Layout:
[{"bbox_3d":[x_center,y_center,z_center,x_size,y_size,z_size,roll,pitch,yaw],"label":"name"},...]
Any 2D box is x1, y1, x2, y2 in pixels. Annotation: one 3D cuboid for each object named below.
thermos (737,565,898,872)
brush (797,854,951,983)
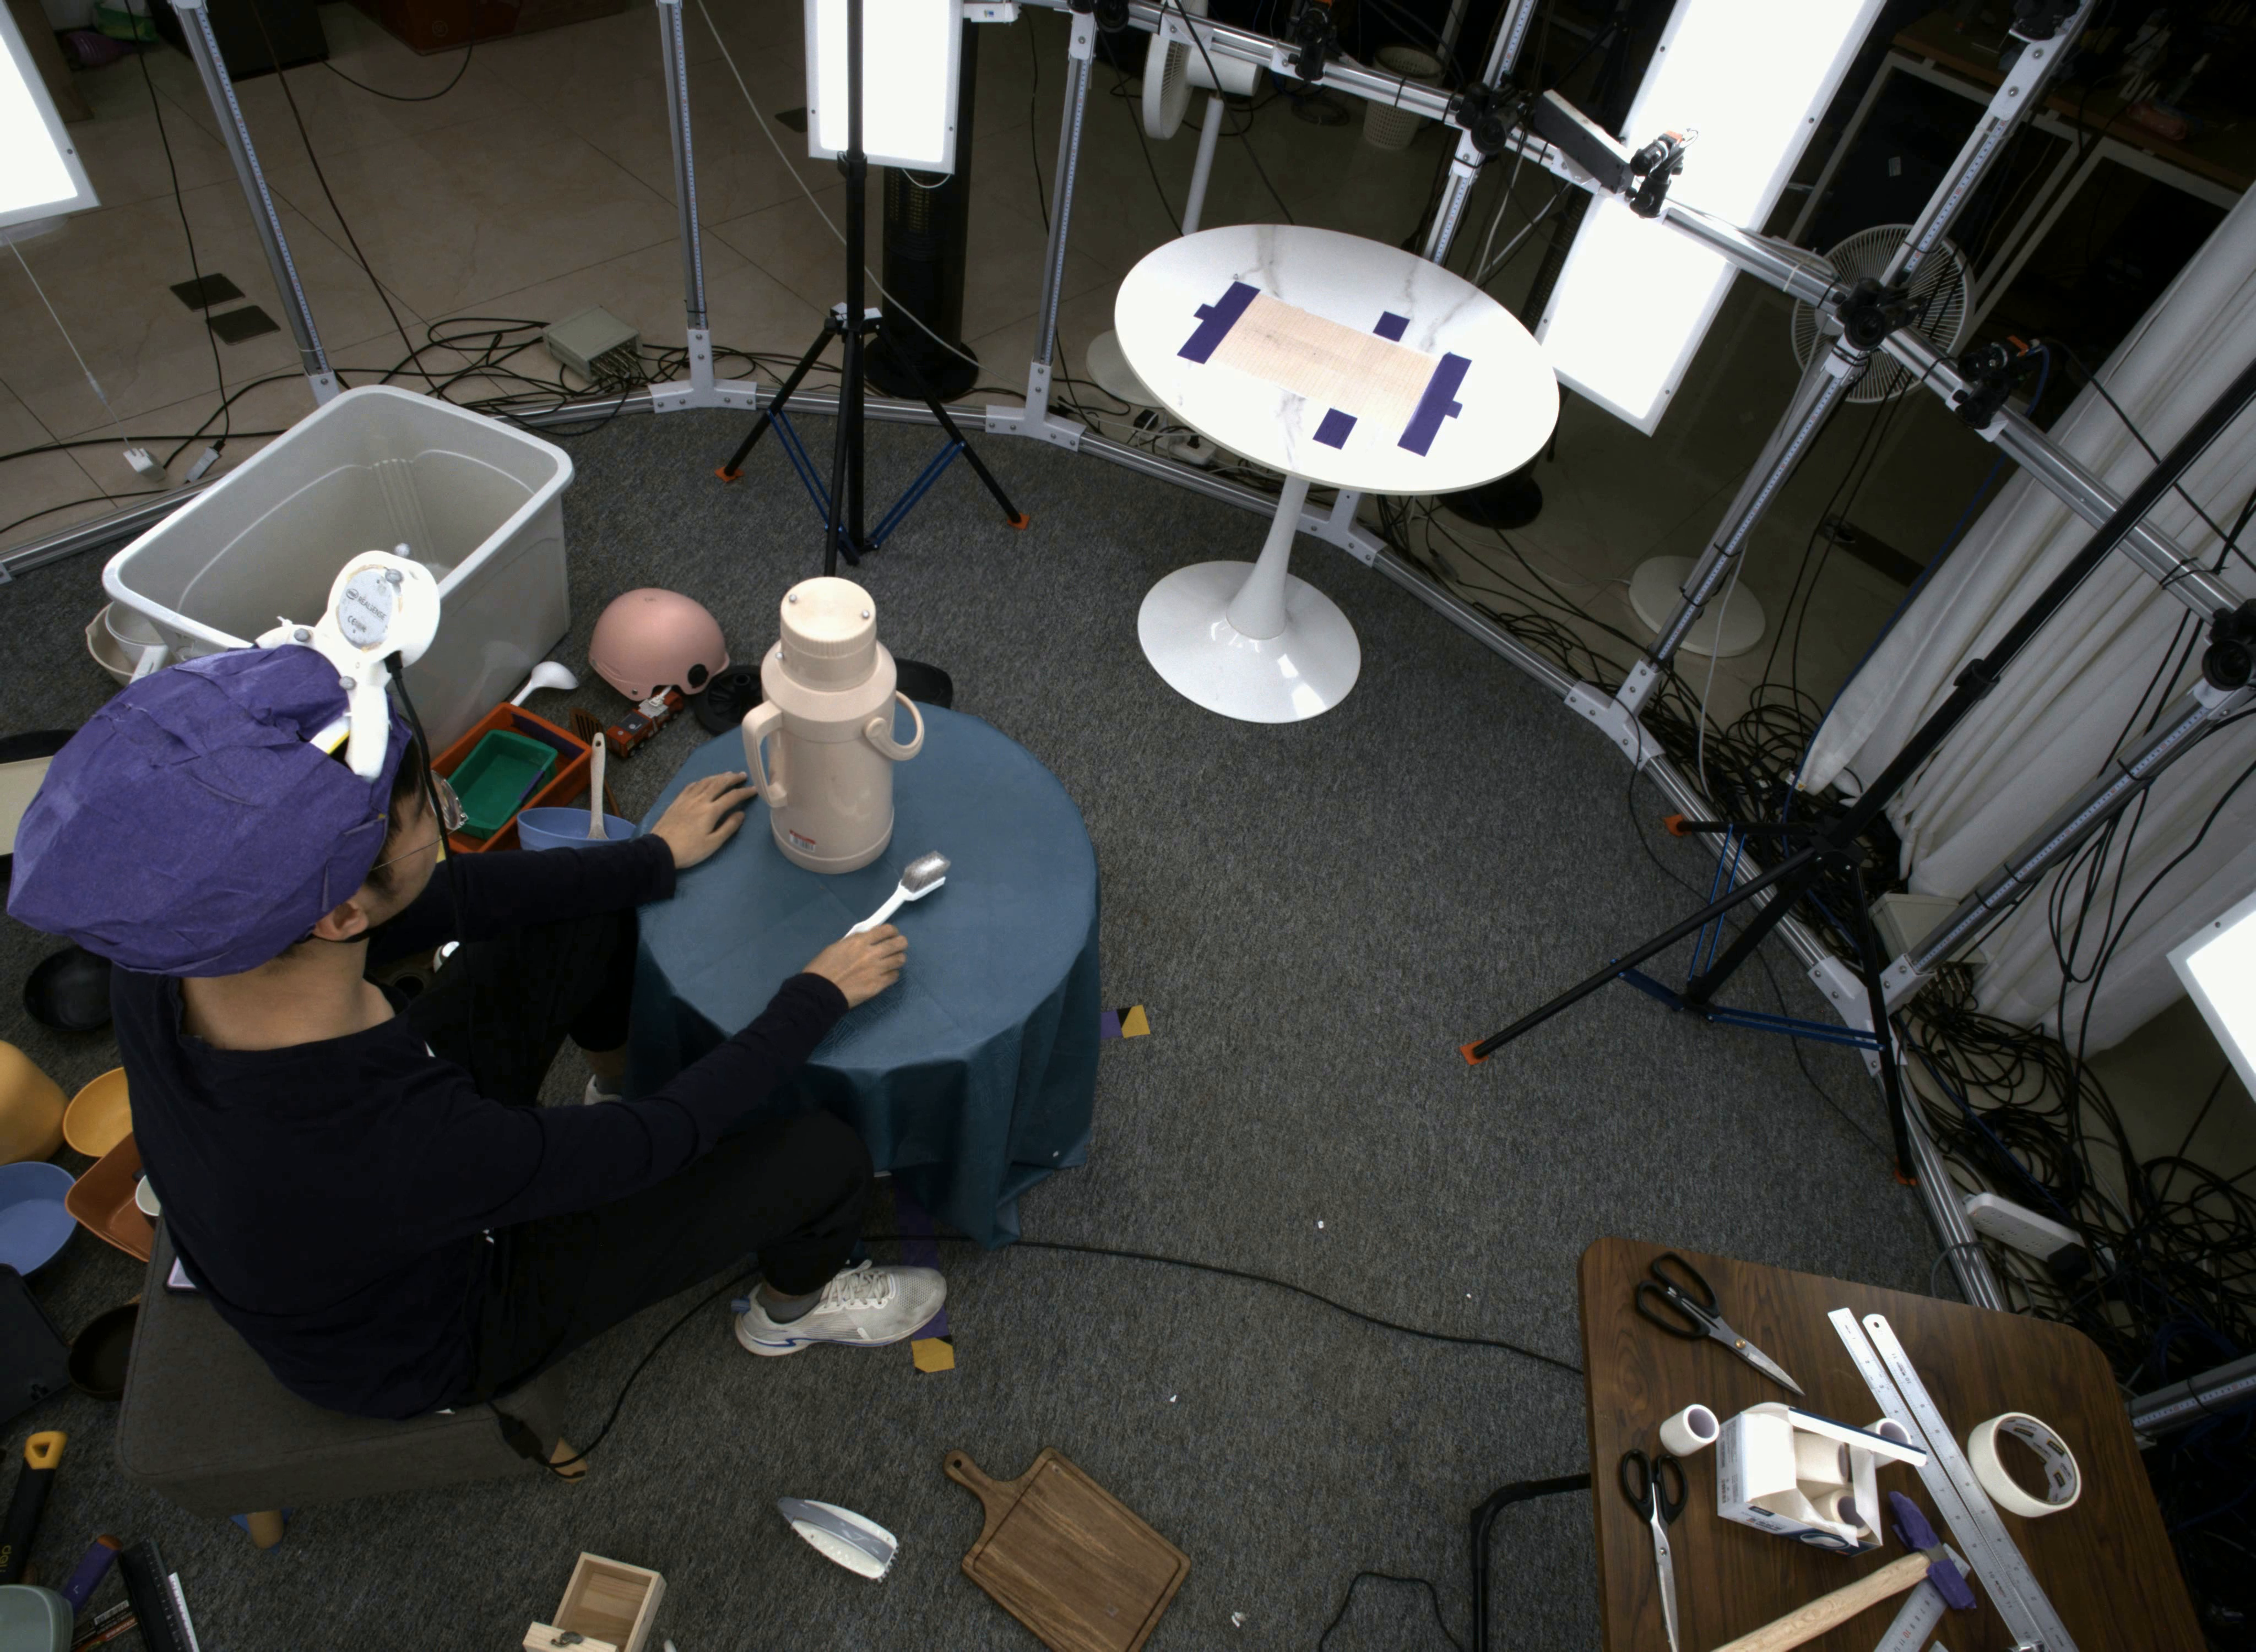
[{"bbox_3d":[-0.377,-0.119,1.570,0.171,0.414,0.207,40,56,18],"label":"thermos"},{"bbox_3d":[-0.319,0.111,1.639,0.034,0.051,0.244,41,55,15],"label":"brush"}]
